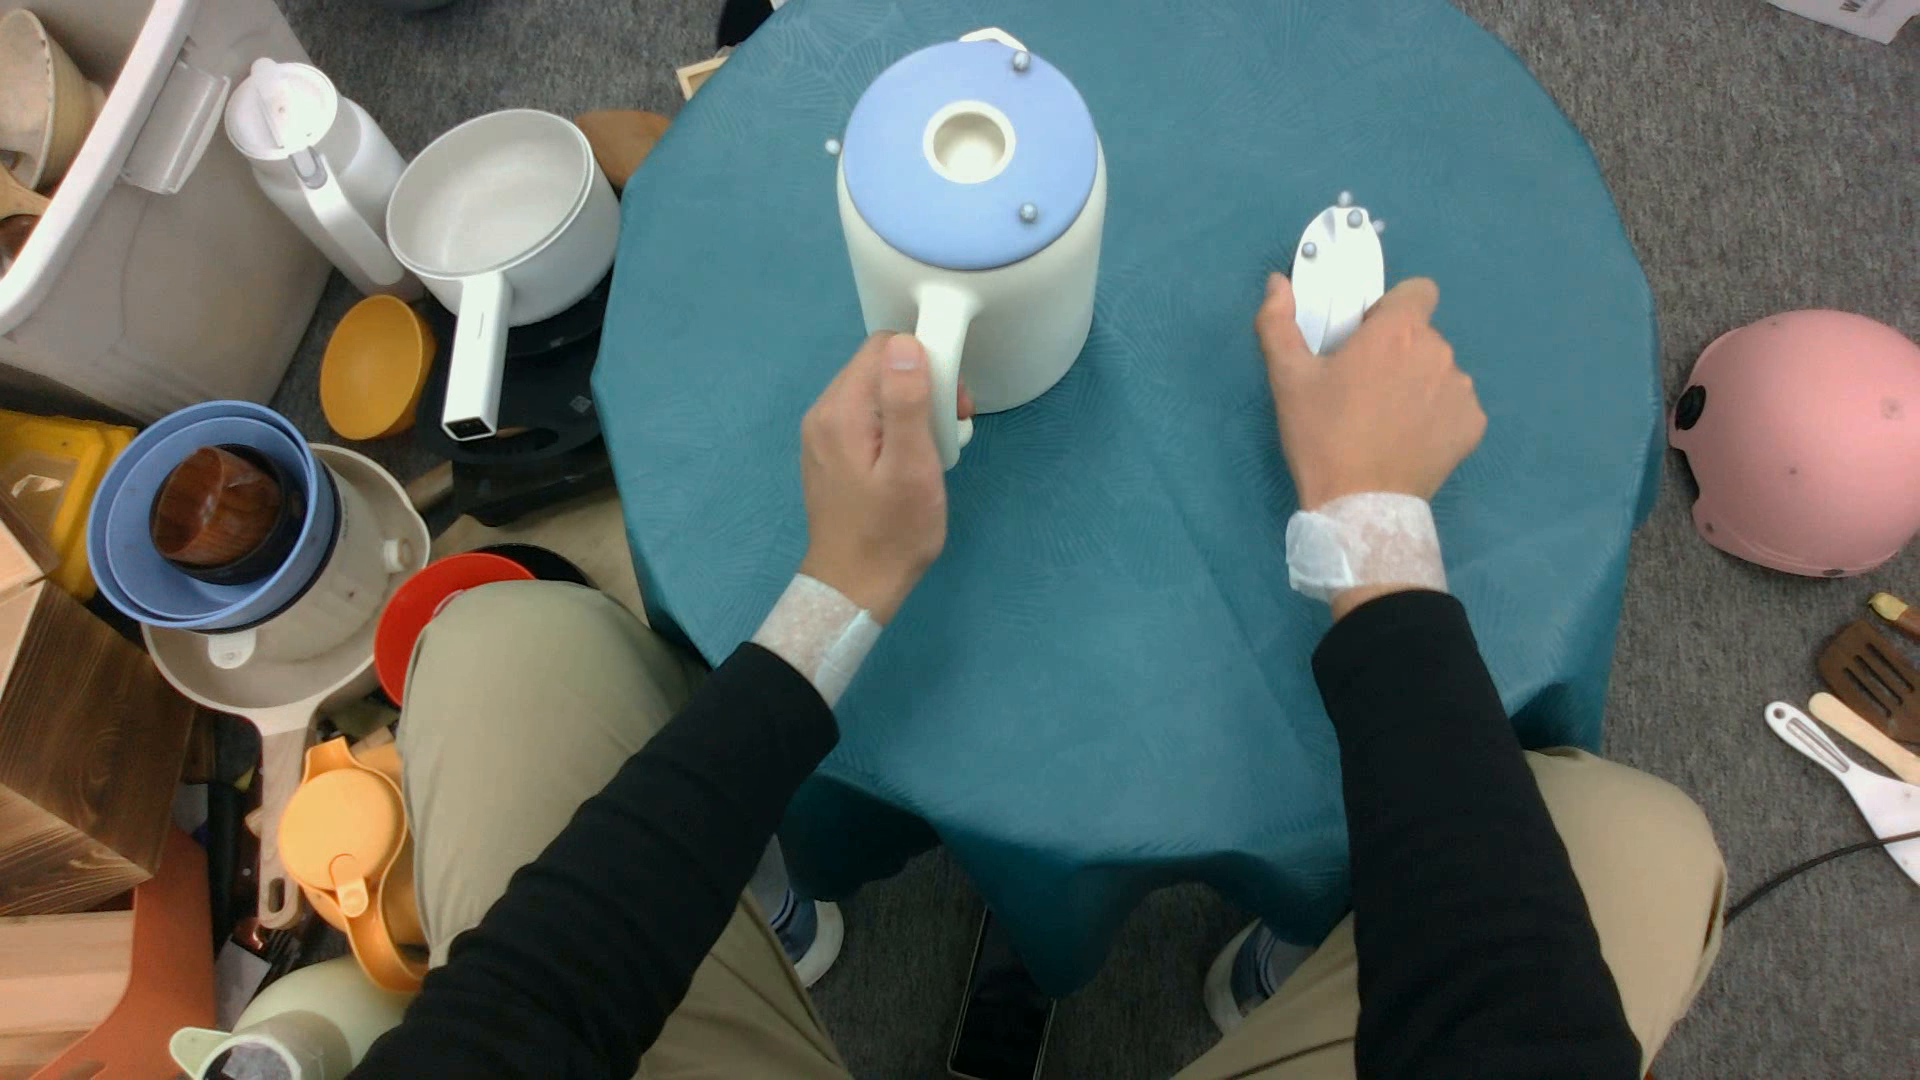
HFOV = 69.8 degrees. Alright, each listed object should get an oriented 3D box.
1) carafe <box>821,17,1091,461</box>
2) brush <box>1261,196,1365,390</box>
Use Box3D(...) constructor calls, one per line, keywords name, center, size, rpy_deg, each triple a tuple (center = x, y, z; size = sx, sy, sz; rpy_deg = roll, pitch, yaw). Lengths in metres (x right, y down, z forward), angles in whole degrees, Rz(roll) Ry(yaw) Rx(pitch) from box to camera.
Box3D(name="carafe", center=(-0.005, -0.139, 0.708), size=(0.132, 0.182, 0.191), rpy_deg=(8, 75, 4))
Box3D(name="brush", center=(0.198, -0.142, 0.755), size=(0.050, 0.072, 0.099), rpy_deg=(8, 73, 4))
